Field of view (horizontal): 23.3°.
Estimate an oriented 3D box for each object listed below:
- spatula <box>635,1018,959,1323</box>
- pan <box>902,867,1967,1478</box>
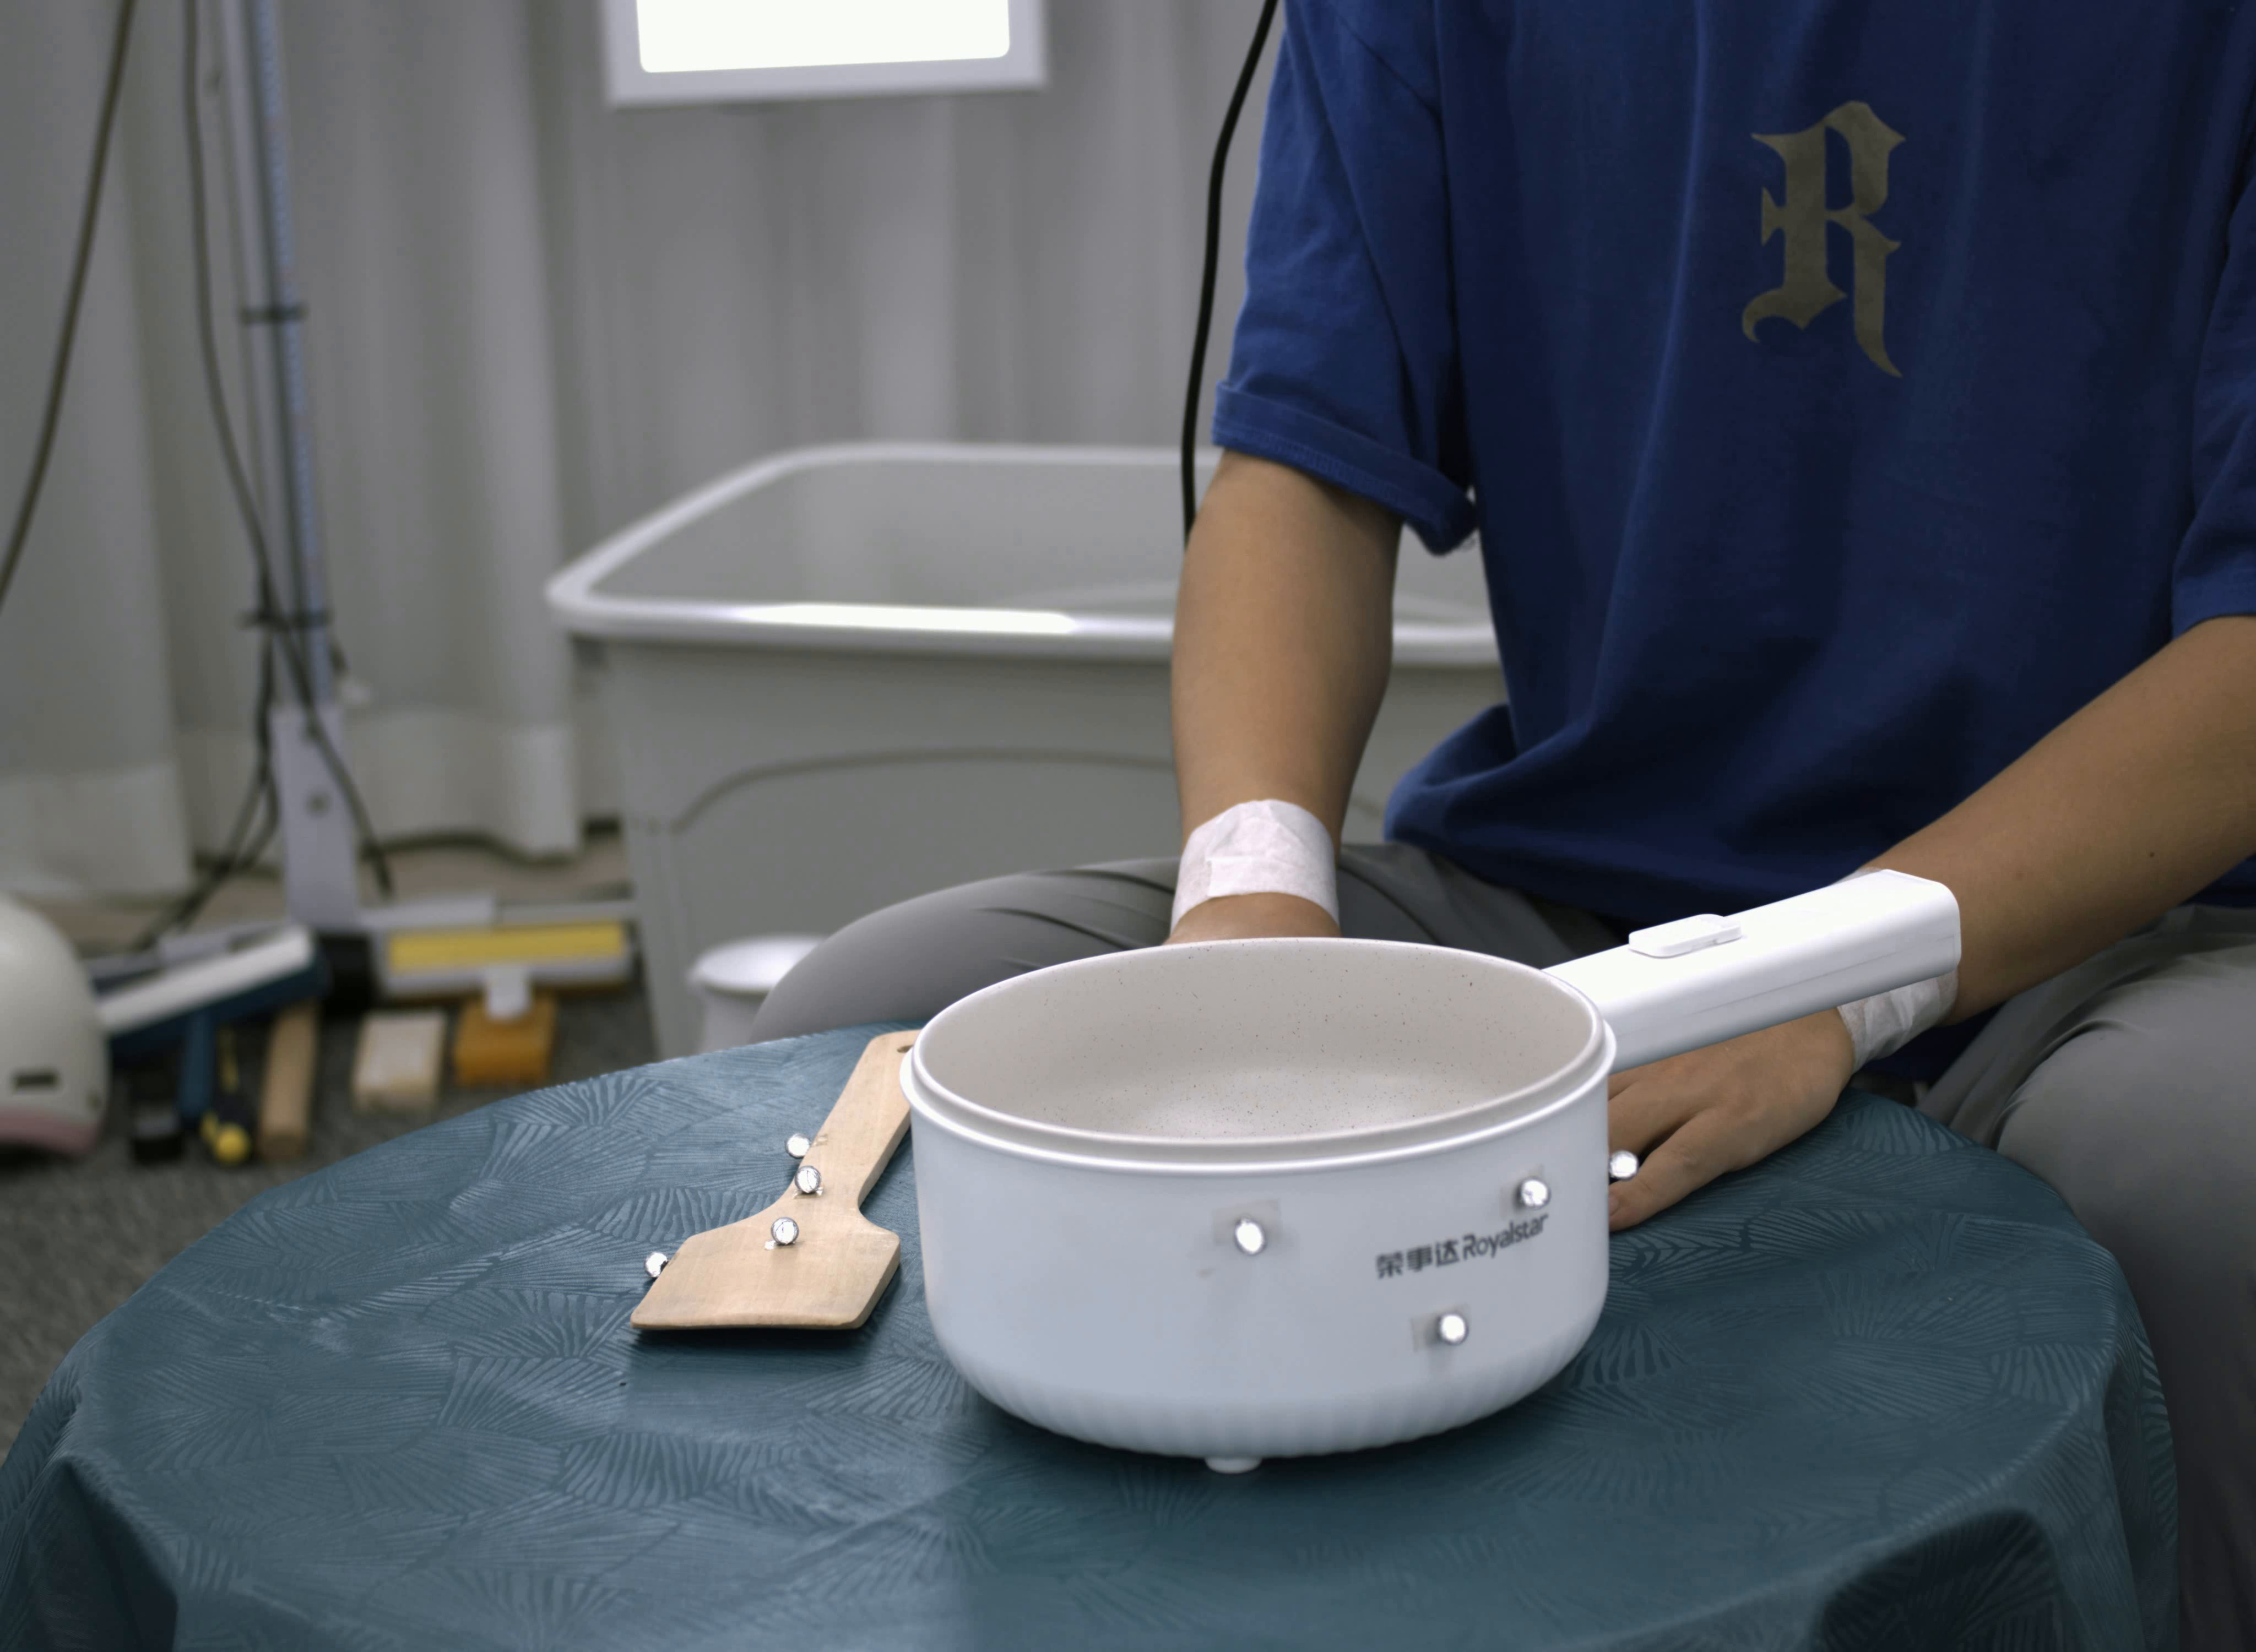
[{"bbox_3d":[-0.092,0.107,1.732,0.072,0.010,0.294,-2,15,9],"label":"spatula"},{"bbox_3d":[0.101,0.094,1.582,0.353,0.102,0.202,-13,16,-34],"label":"pan"}]
